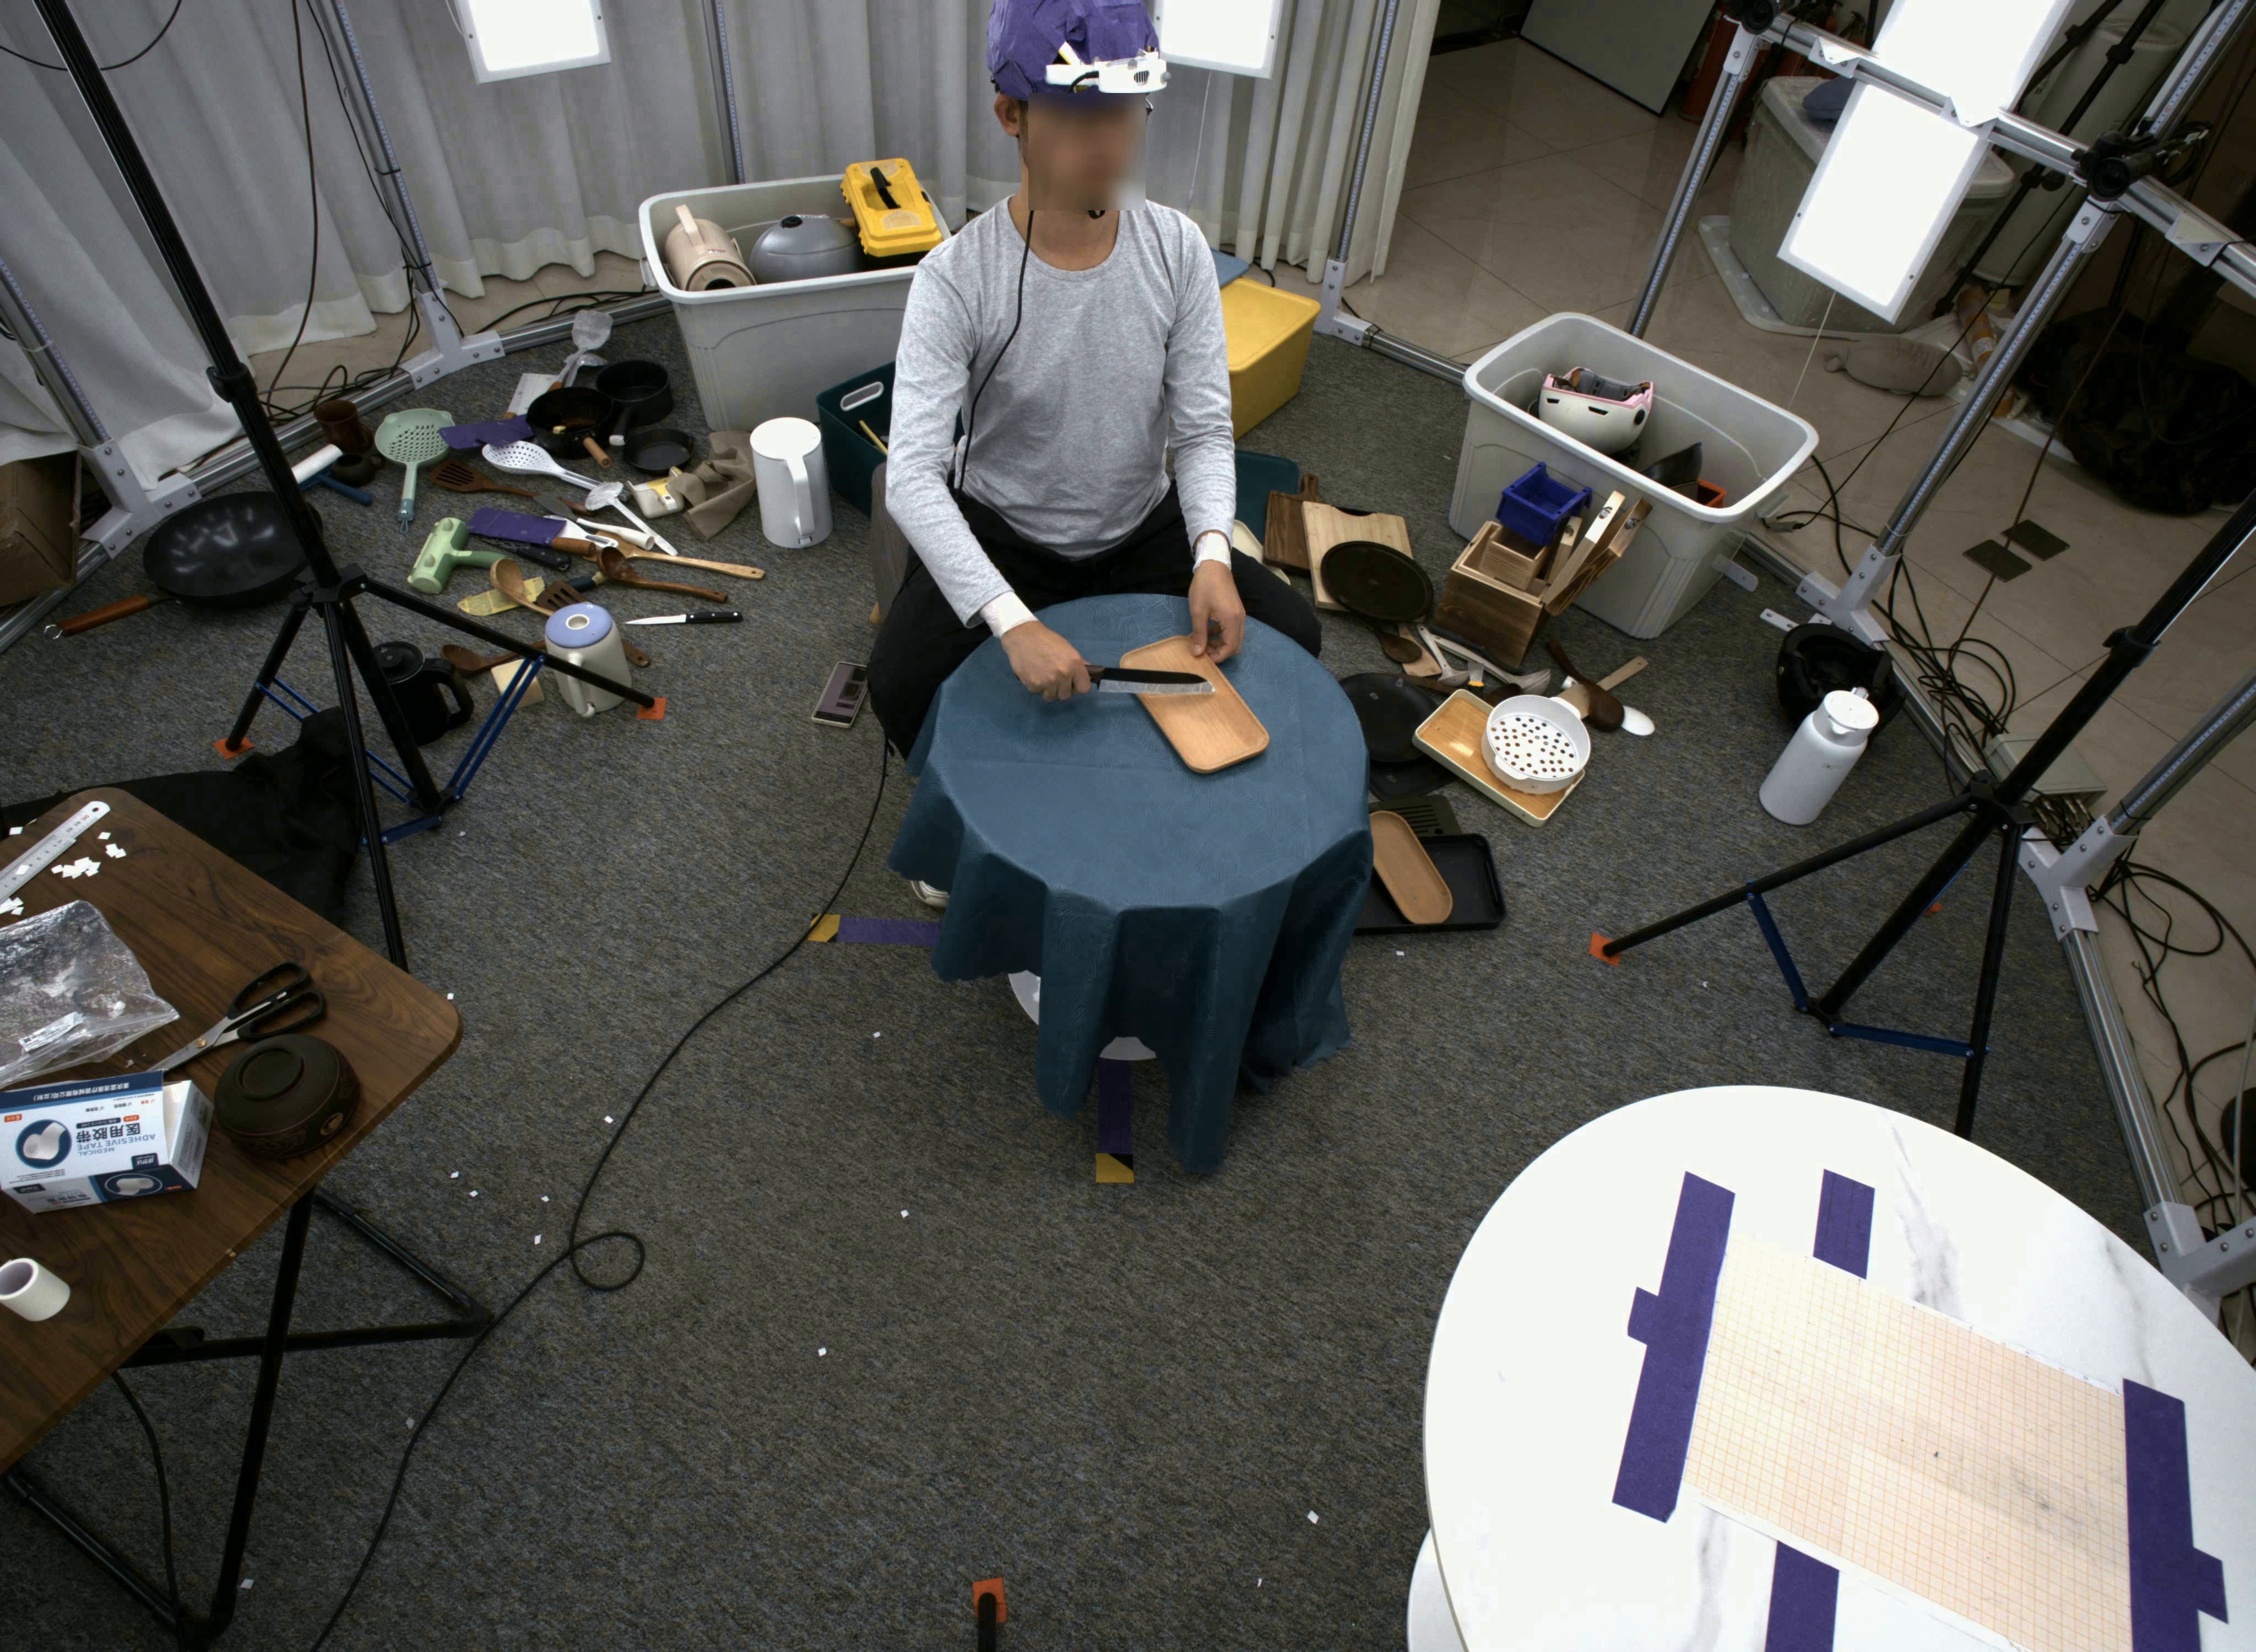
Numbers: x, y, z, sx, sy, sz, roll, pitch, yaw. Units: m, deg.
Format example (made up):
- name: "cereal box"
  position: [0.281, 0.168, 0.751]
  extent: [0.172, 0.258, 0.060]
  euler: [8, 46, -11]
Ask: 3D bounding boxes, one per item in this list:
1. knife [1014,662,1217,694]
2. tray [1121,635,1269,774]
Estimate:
- name: "knife"
  position: [-0.016, -0.205, 1.791]
  extent: [0.288, 0.049, 0.020]
  euler: [4, 48, -9]
- name: "tray"
  position: [0.092, -0.175, 1.811]
  extent: [0.131, 0.022, 0.256]
  euler: [-18, 52, -18]
